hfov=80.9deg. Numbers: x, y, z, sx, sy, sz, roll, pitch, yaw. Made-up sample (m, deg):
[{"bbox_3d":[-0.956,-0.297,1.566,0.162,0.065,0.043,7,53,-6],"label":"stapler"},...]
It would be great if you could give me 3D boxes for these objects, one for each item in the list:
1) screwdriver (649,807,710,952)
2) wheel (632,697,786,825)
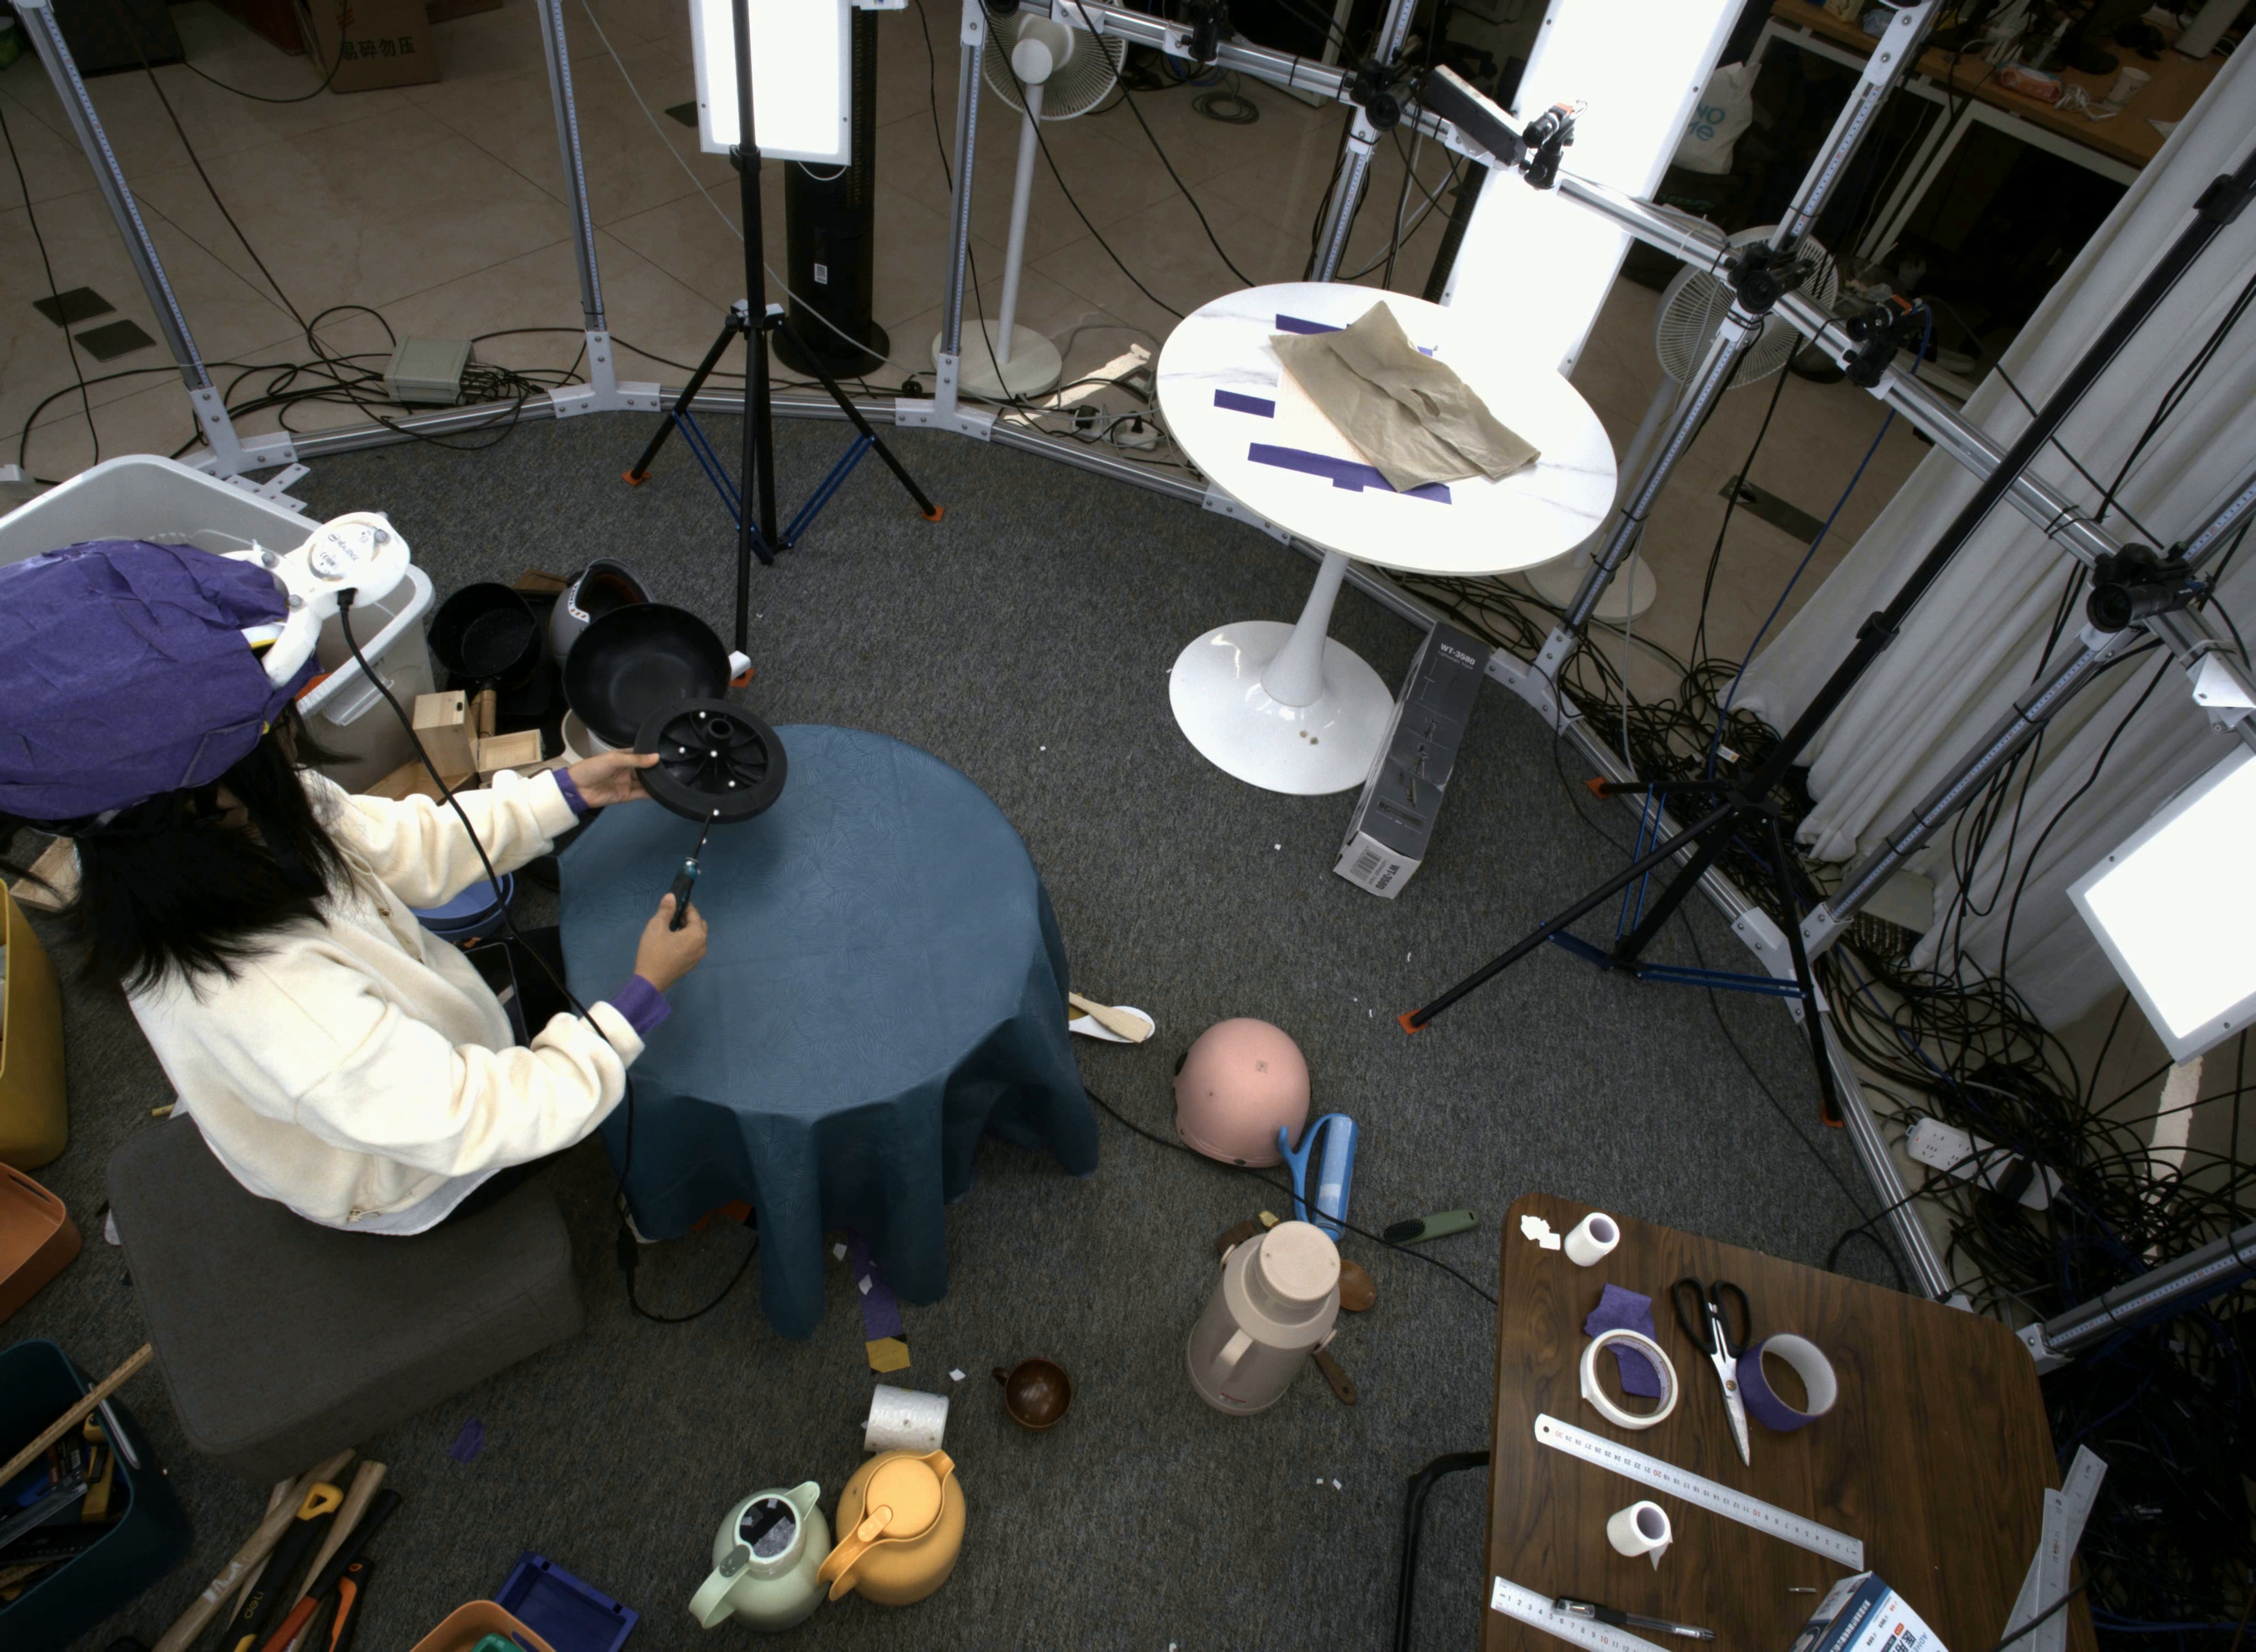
[{"bbox_3d":[-0.511,0.055,1.480,0.033,0.034,0.187,11,58,-4],"label":"screwdriver"},{"bbox_3d":[-0.513,-0.096,1.590,0.193,0.079,0.183,8,52,-29],"label":"wheel"}]
